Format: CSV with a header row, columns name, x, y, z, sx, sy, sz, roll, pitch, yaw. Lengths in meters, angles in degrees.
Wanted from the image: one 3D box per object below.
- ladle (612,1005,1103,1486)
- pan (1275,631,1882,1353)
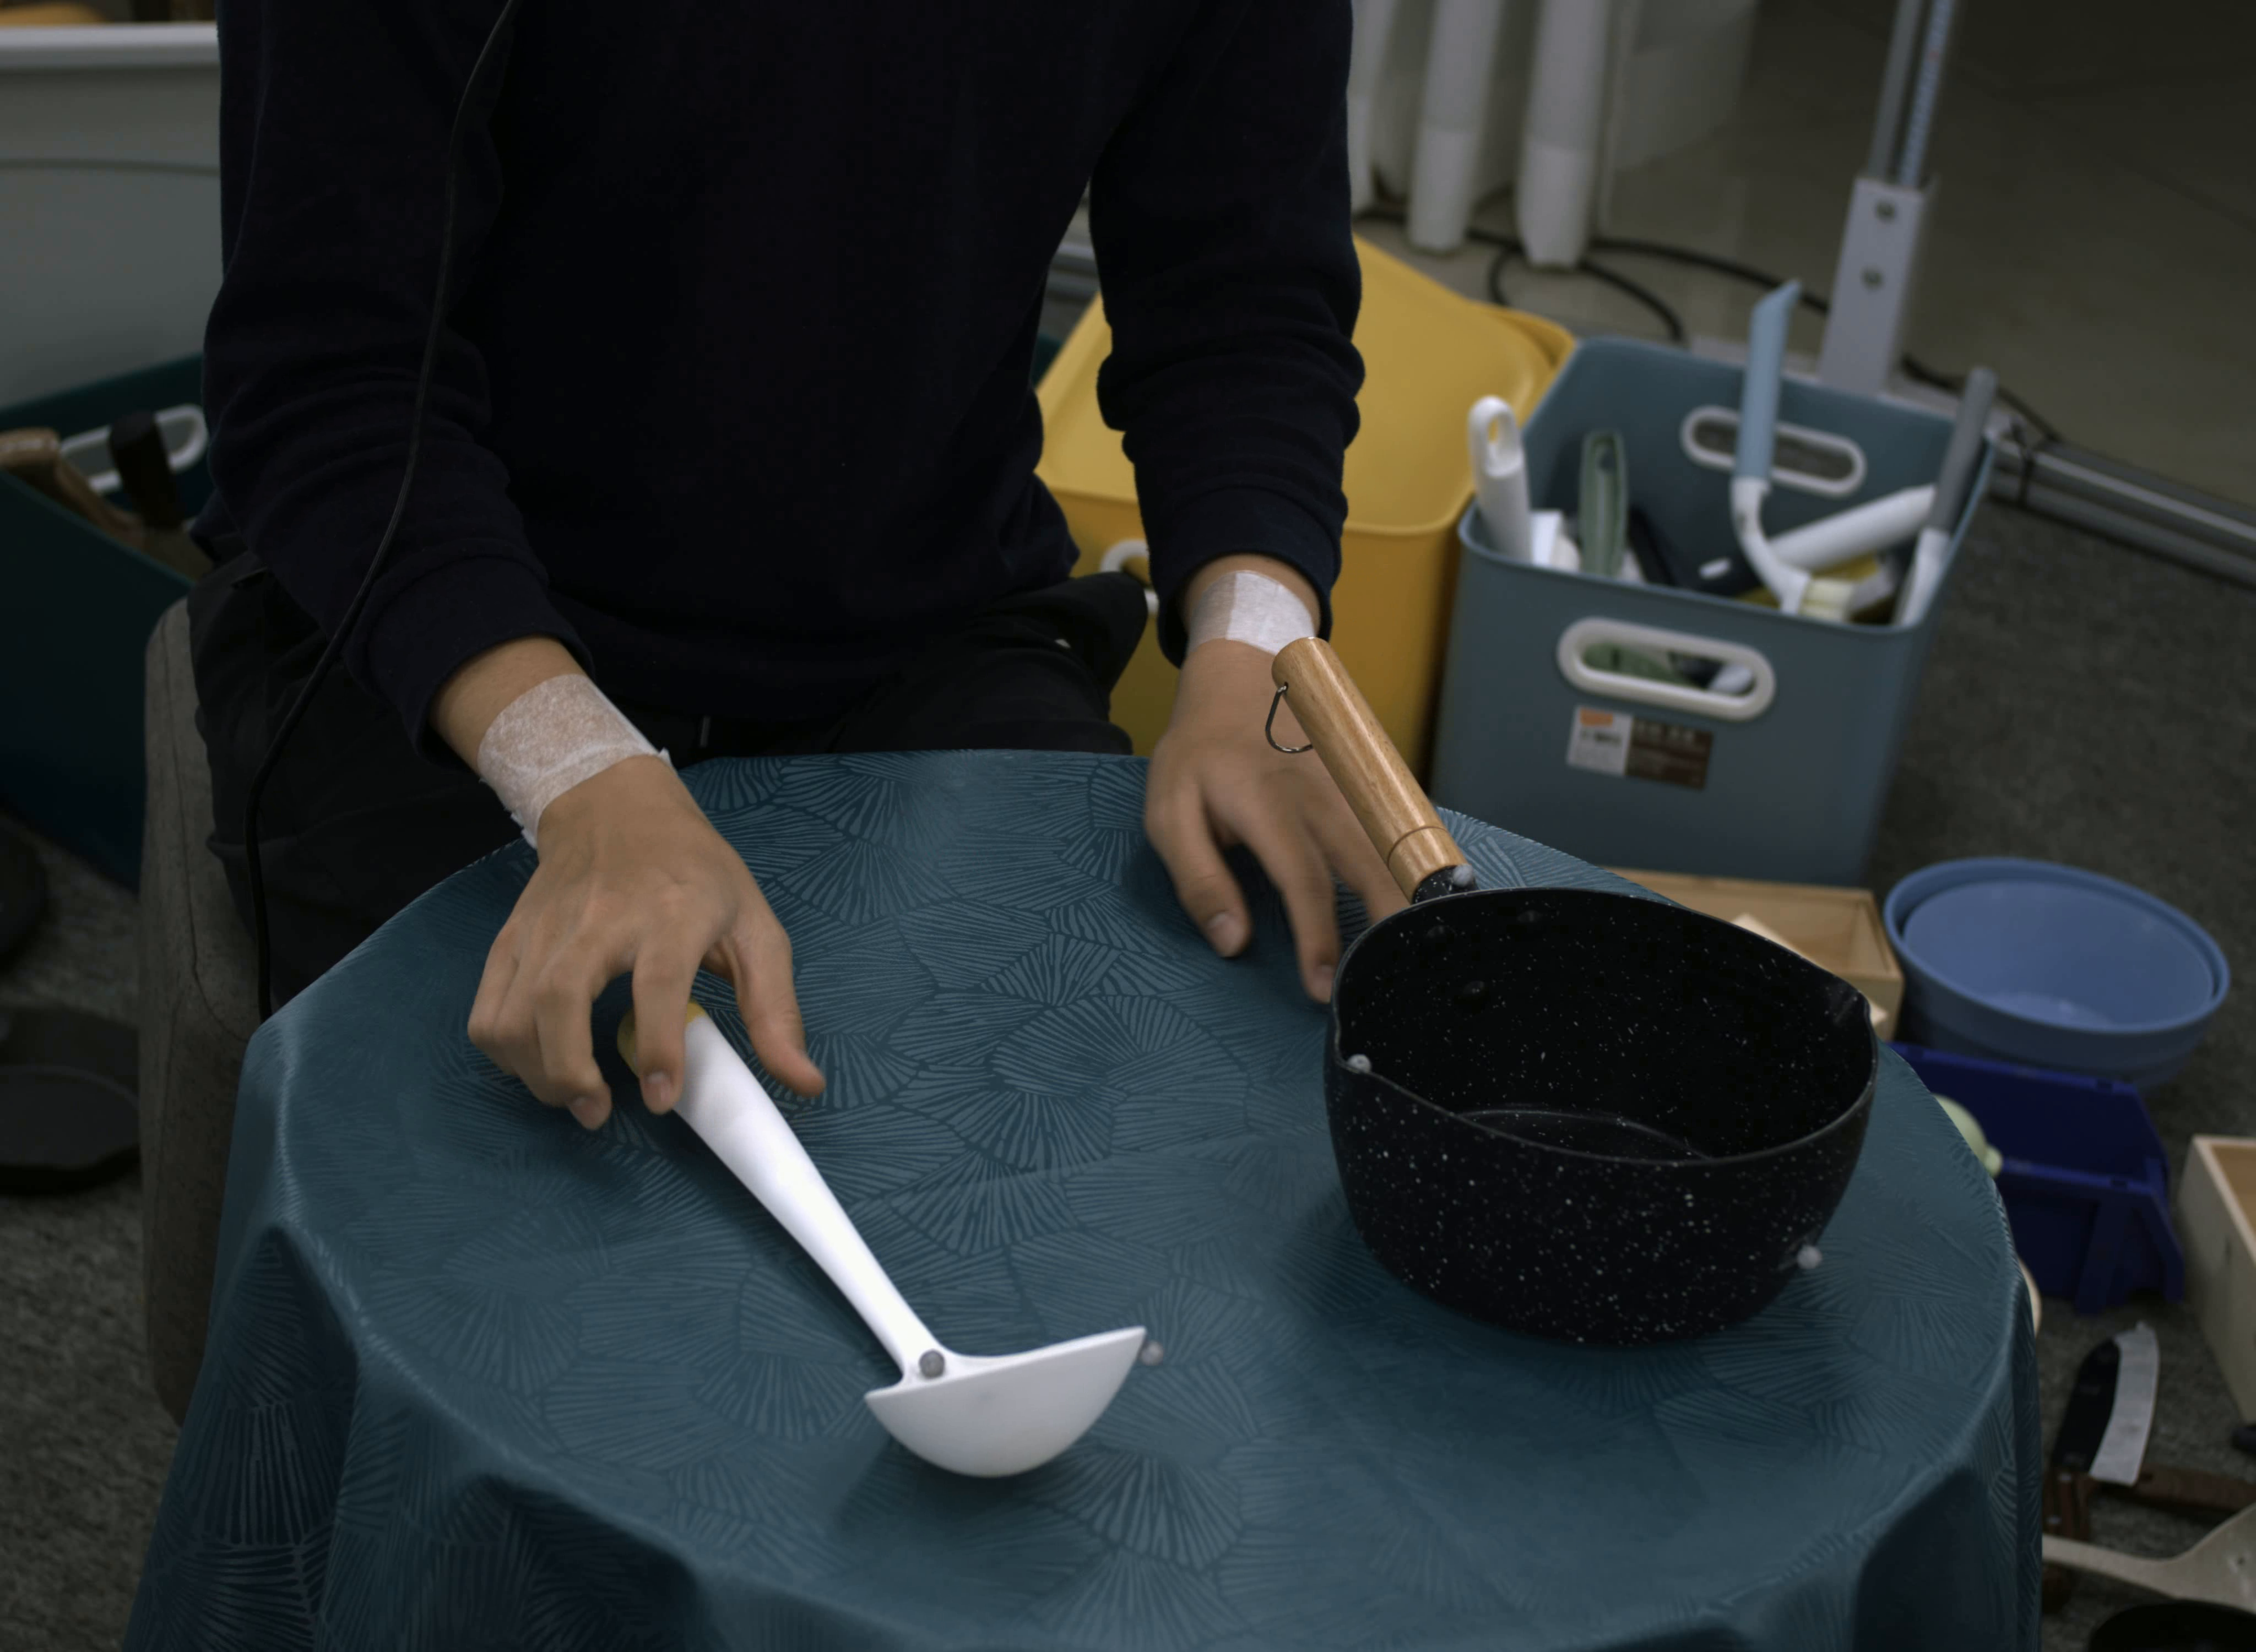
name,x,y,z,sx,sy,sz,roll,pitch,yaw
ladle,-0.100,0.123,1.712,0.090,0.069,0.295,-19,34,-19
pan,0.123,0.054,1.847,0.206,0.108,0.346,-7,31,-24
